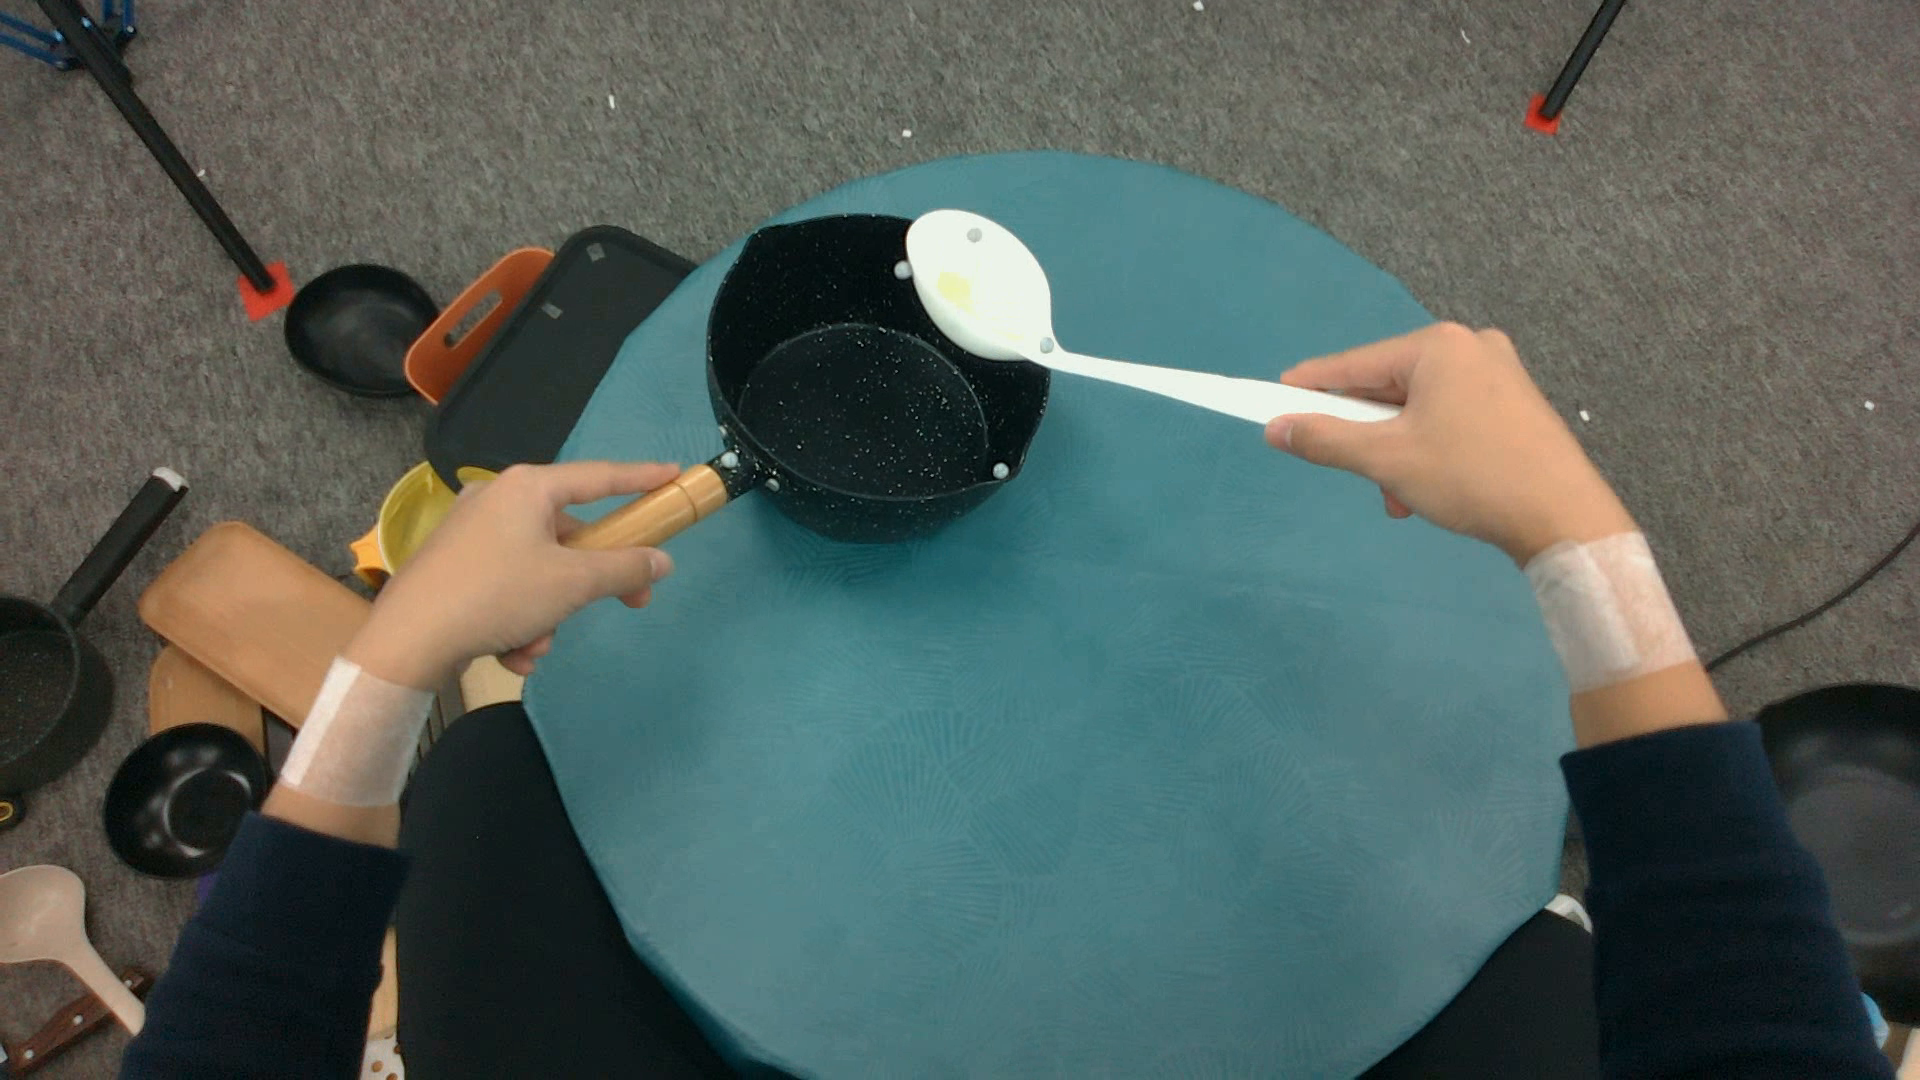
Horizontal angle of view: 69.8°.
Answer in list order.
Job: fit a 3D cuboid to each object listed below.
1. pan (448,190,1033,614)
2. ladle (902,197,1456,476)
[{"bbox_3d":[-0.110,-0.051,0.714,0.207,0.107,0.344,44,61,9],"label":"pan"},{"bbox_3d":[0.093,-0.103,0.651,0.293,0.090,0.070,21,108,34],"label":"ladle"}]
